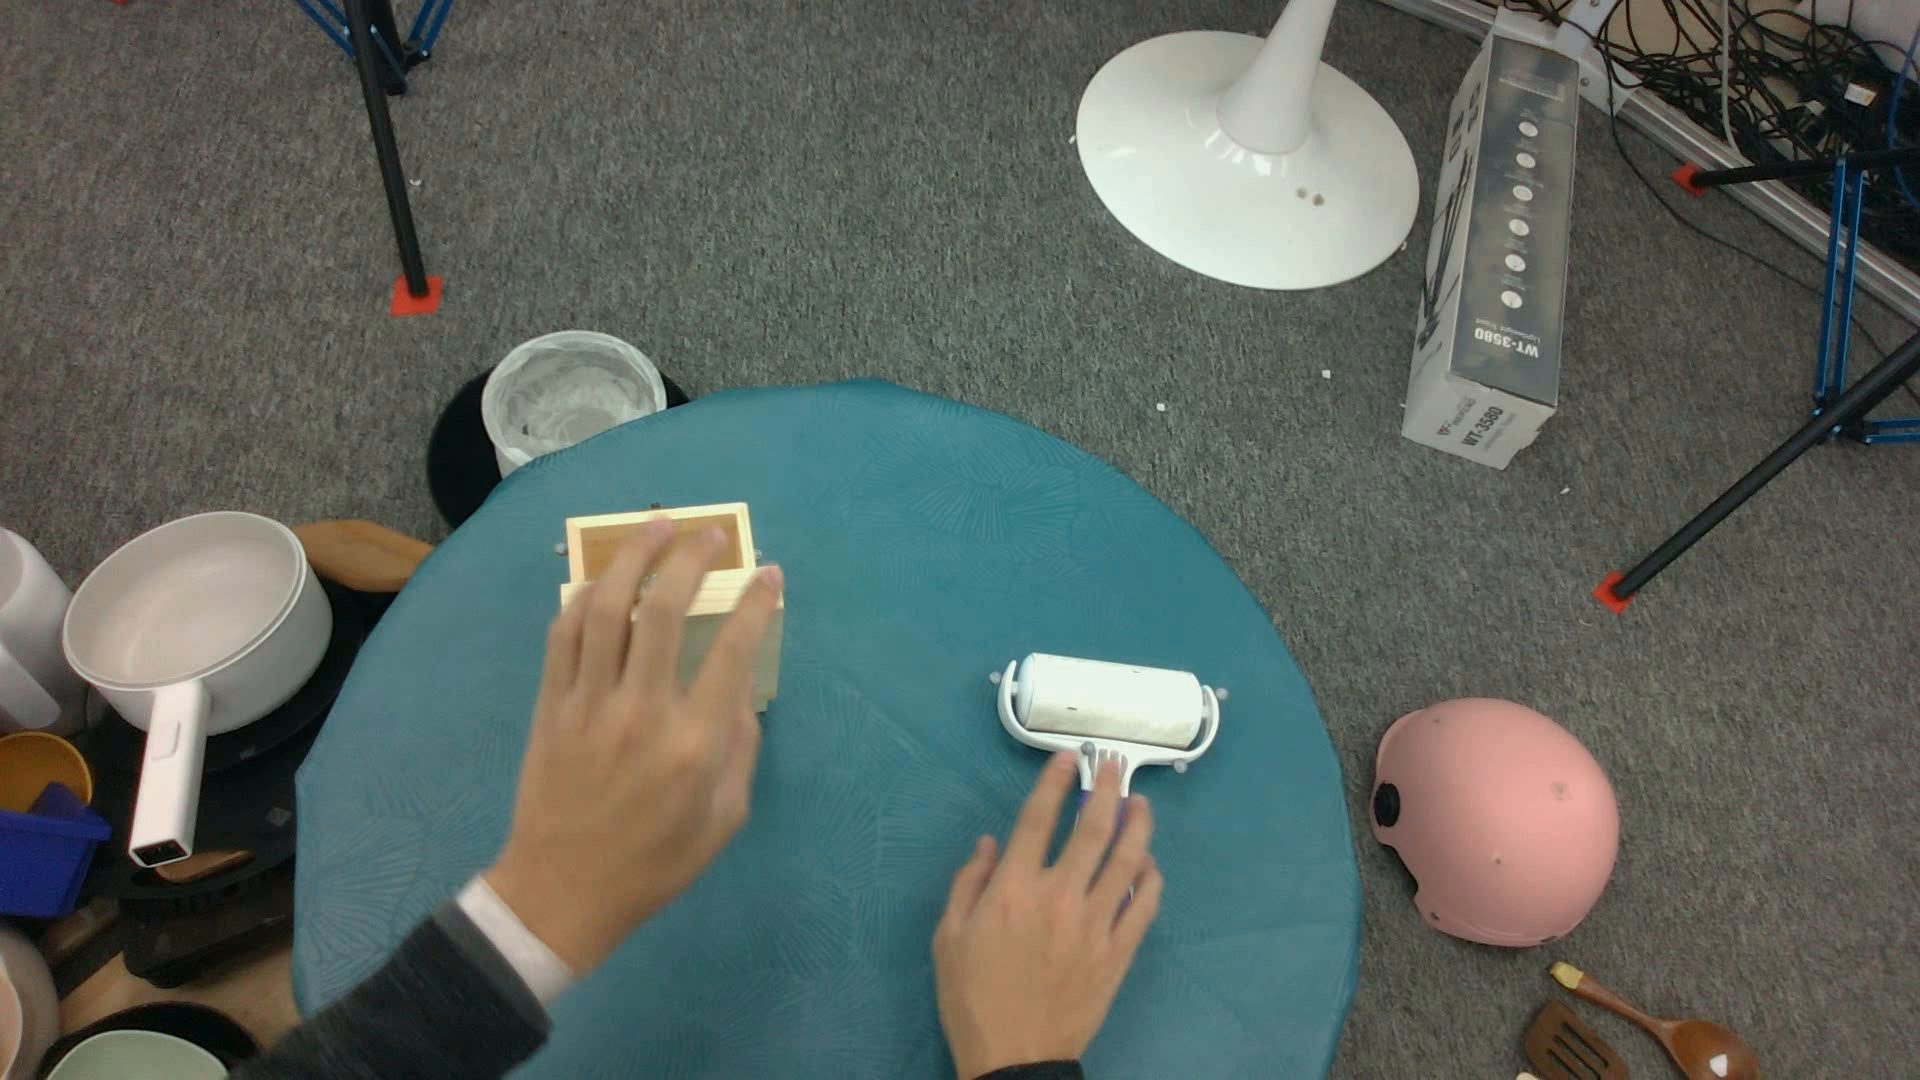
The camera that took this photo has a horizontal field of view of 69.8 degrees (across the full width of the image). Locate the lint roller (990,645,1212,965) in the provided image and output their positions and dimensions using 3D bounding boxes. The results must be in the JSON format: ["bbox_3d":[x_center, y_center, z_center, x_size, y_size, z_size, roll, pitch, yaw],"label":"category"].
[{"bbox_3d":[0.079,0.147,0.790,0.133,0.050,0.181,10,57,-6],"label":"lint roller"}]

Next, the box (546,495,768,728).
[{"bbox_3d":[-0.164,0.023,0.740,0.103,0.183,0.134,-6,62,-13],"label":"box"}]
